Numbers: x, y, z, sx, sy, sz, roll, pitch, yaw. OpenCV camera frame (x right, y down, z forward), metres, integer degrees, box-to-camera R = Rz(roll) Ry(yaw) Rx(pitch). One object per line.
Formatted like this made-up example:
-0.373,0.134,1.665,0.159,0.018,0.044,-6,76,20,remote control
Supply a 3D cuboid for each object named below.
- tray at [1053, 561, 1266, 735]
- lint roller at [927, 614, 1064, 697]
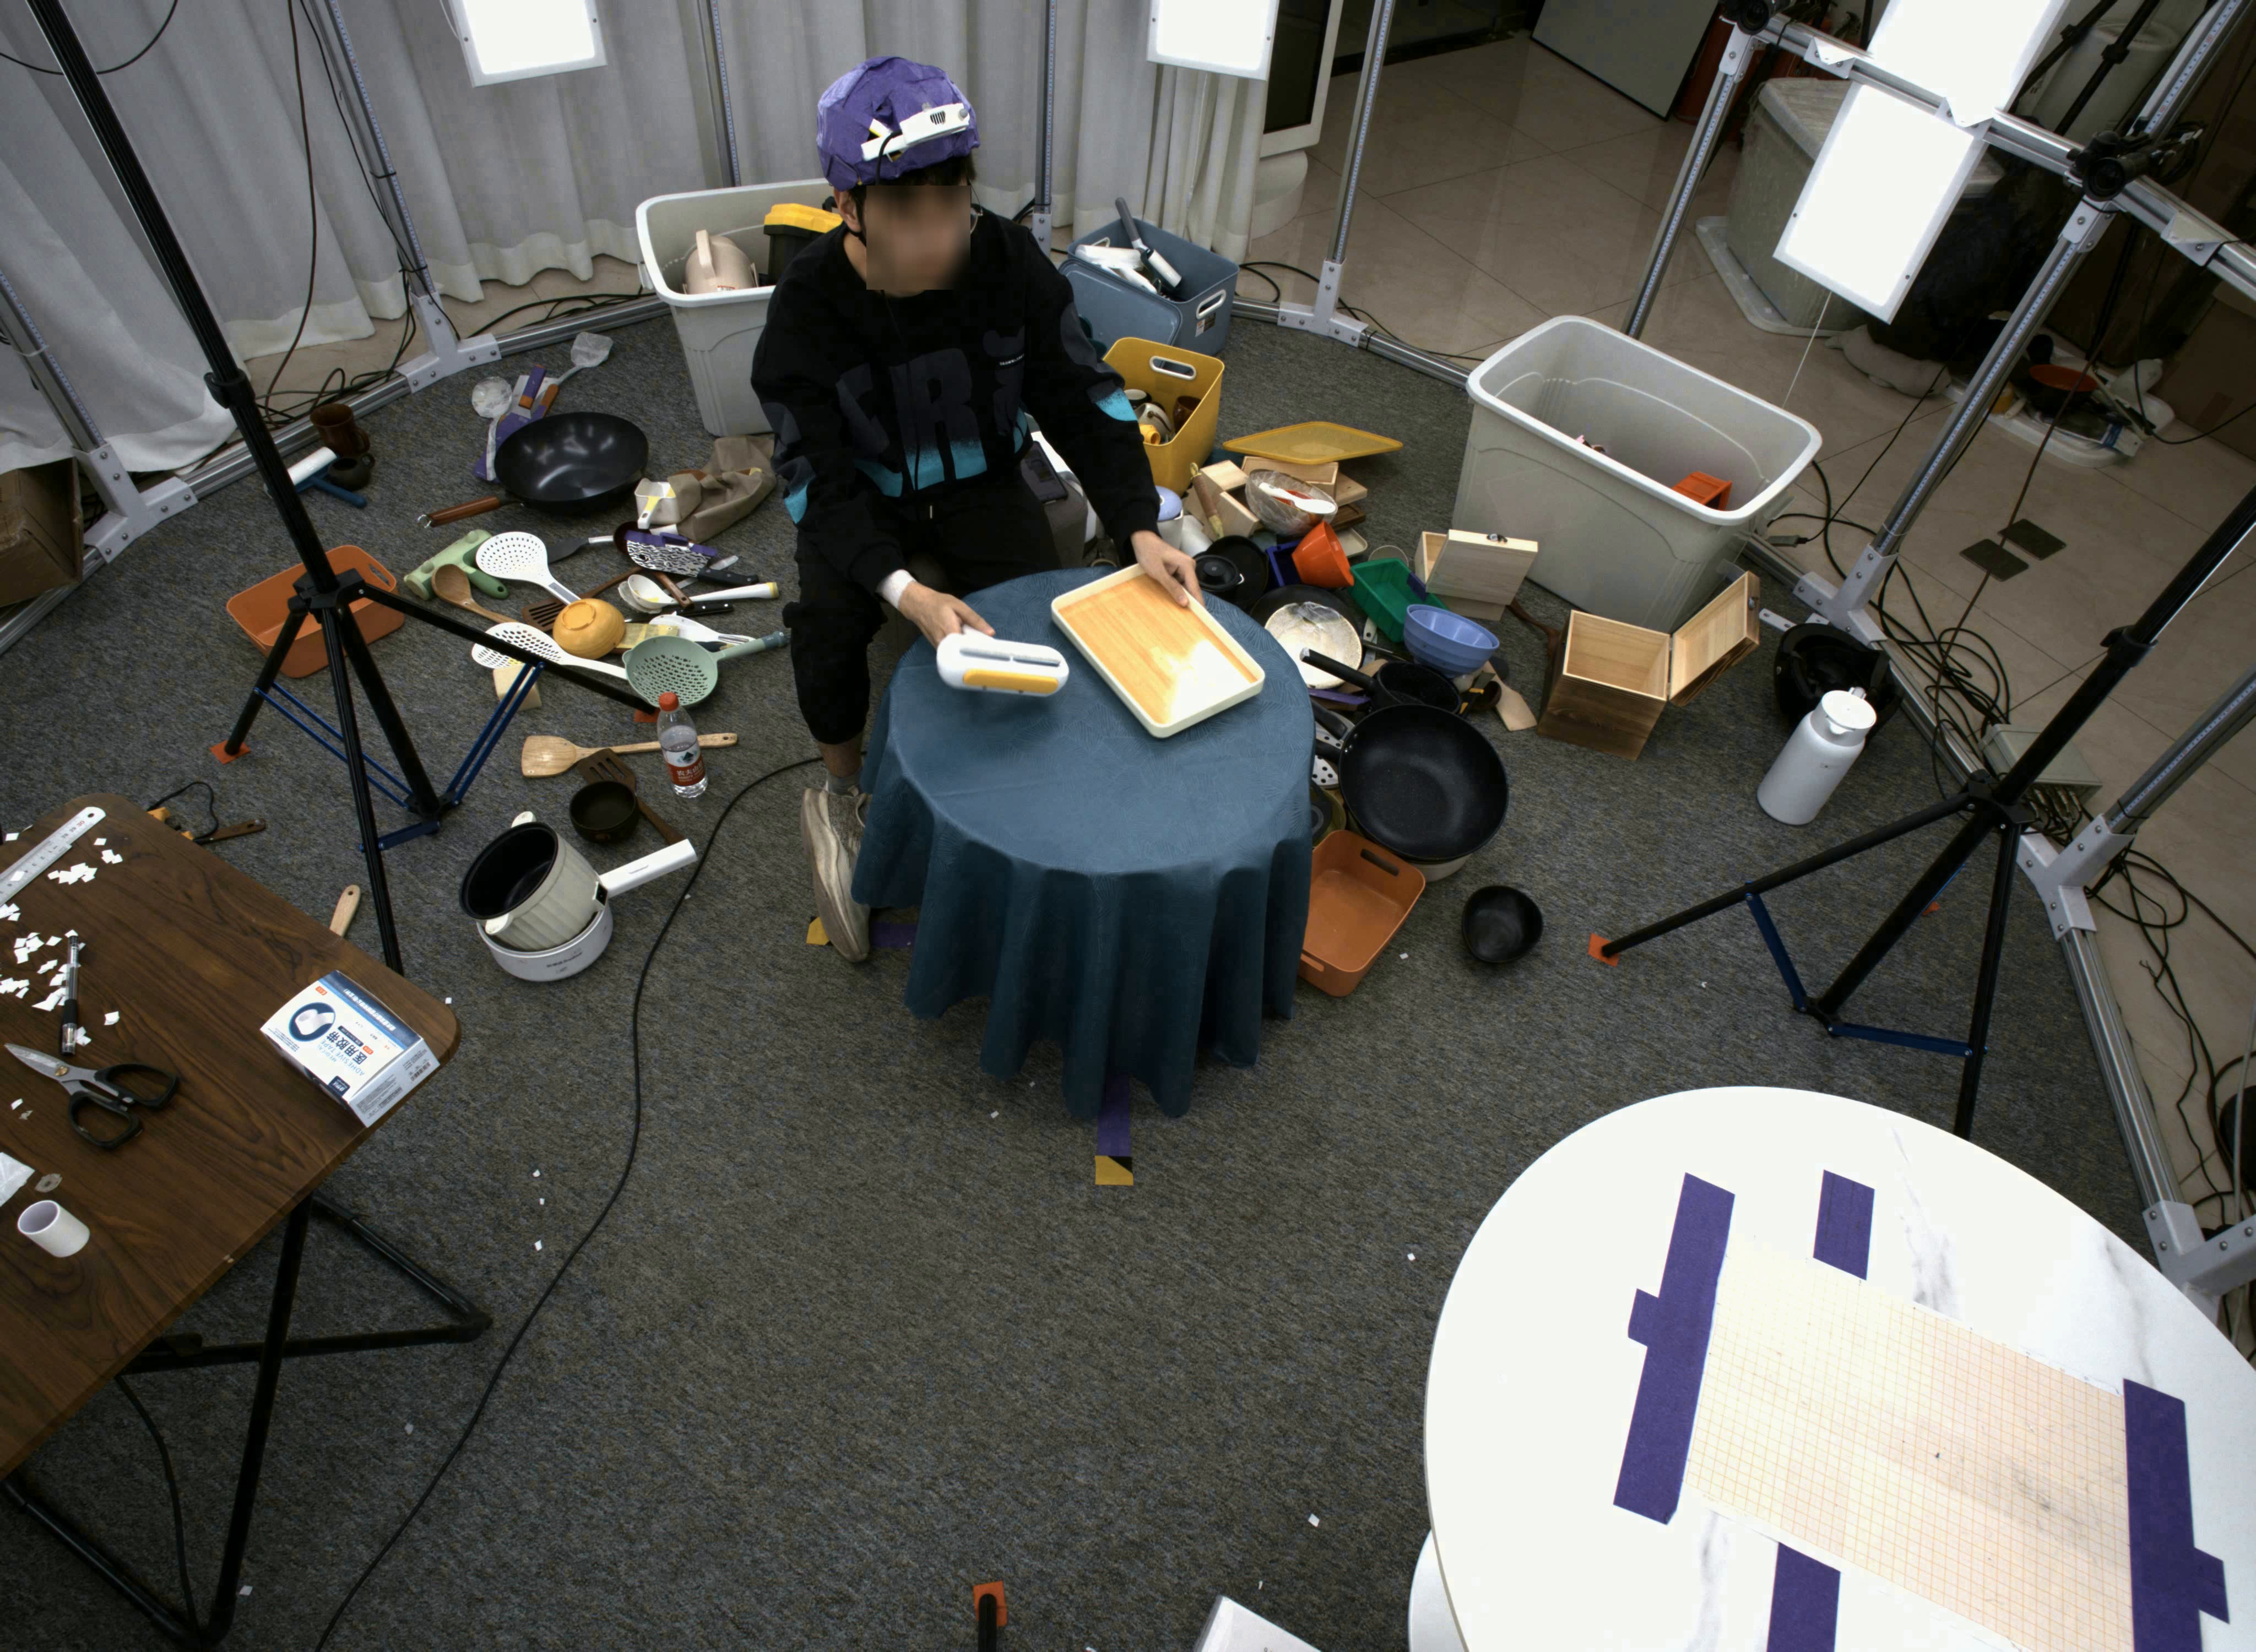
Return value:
0.042,-0.264,1.864,0.192,0.027,0.306,-25,56,-21,tray
-0.201,-0.251,1.776,0.192,0.073,0.197,3,38,-30,lint roller
